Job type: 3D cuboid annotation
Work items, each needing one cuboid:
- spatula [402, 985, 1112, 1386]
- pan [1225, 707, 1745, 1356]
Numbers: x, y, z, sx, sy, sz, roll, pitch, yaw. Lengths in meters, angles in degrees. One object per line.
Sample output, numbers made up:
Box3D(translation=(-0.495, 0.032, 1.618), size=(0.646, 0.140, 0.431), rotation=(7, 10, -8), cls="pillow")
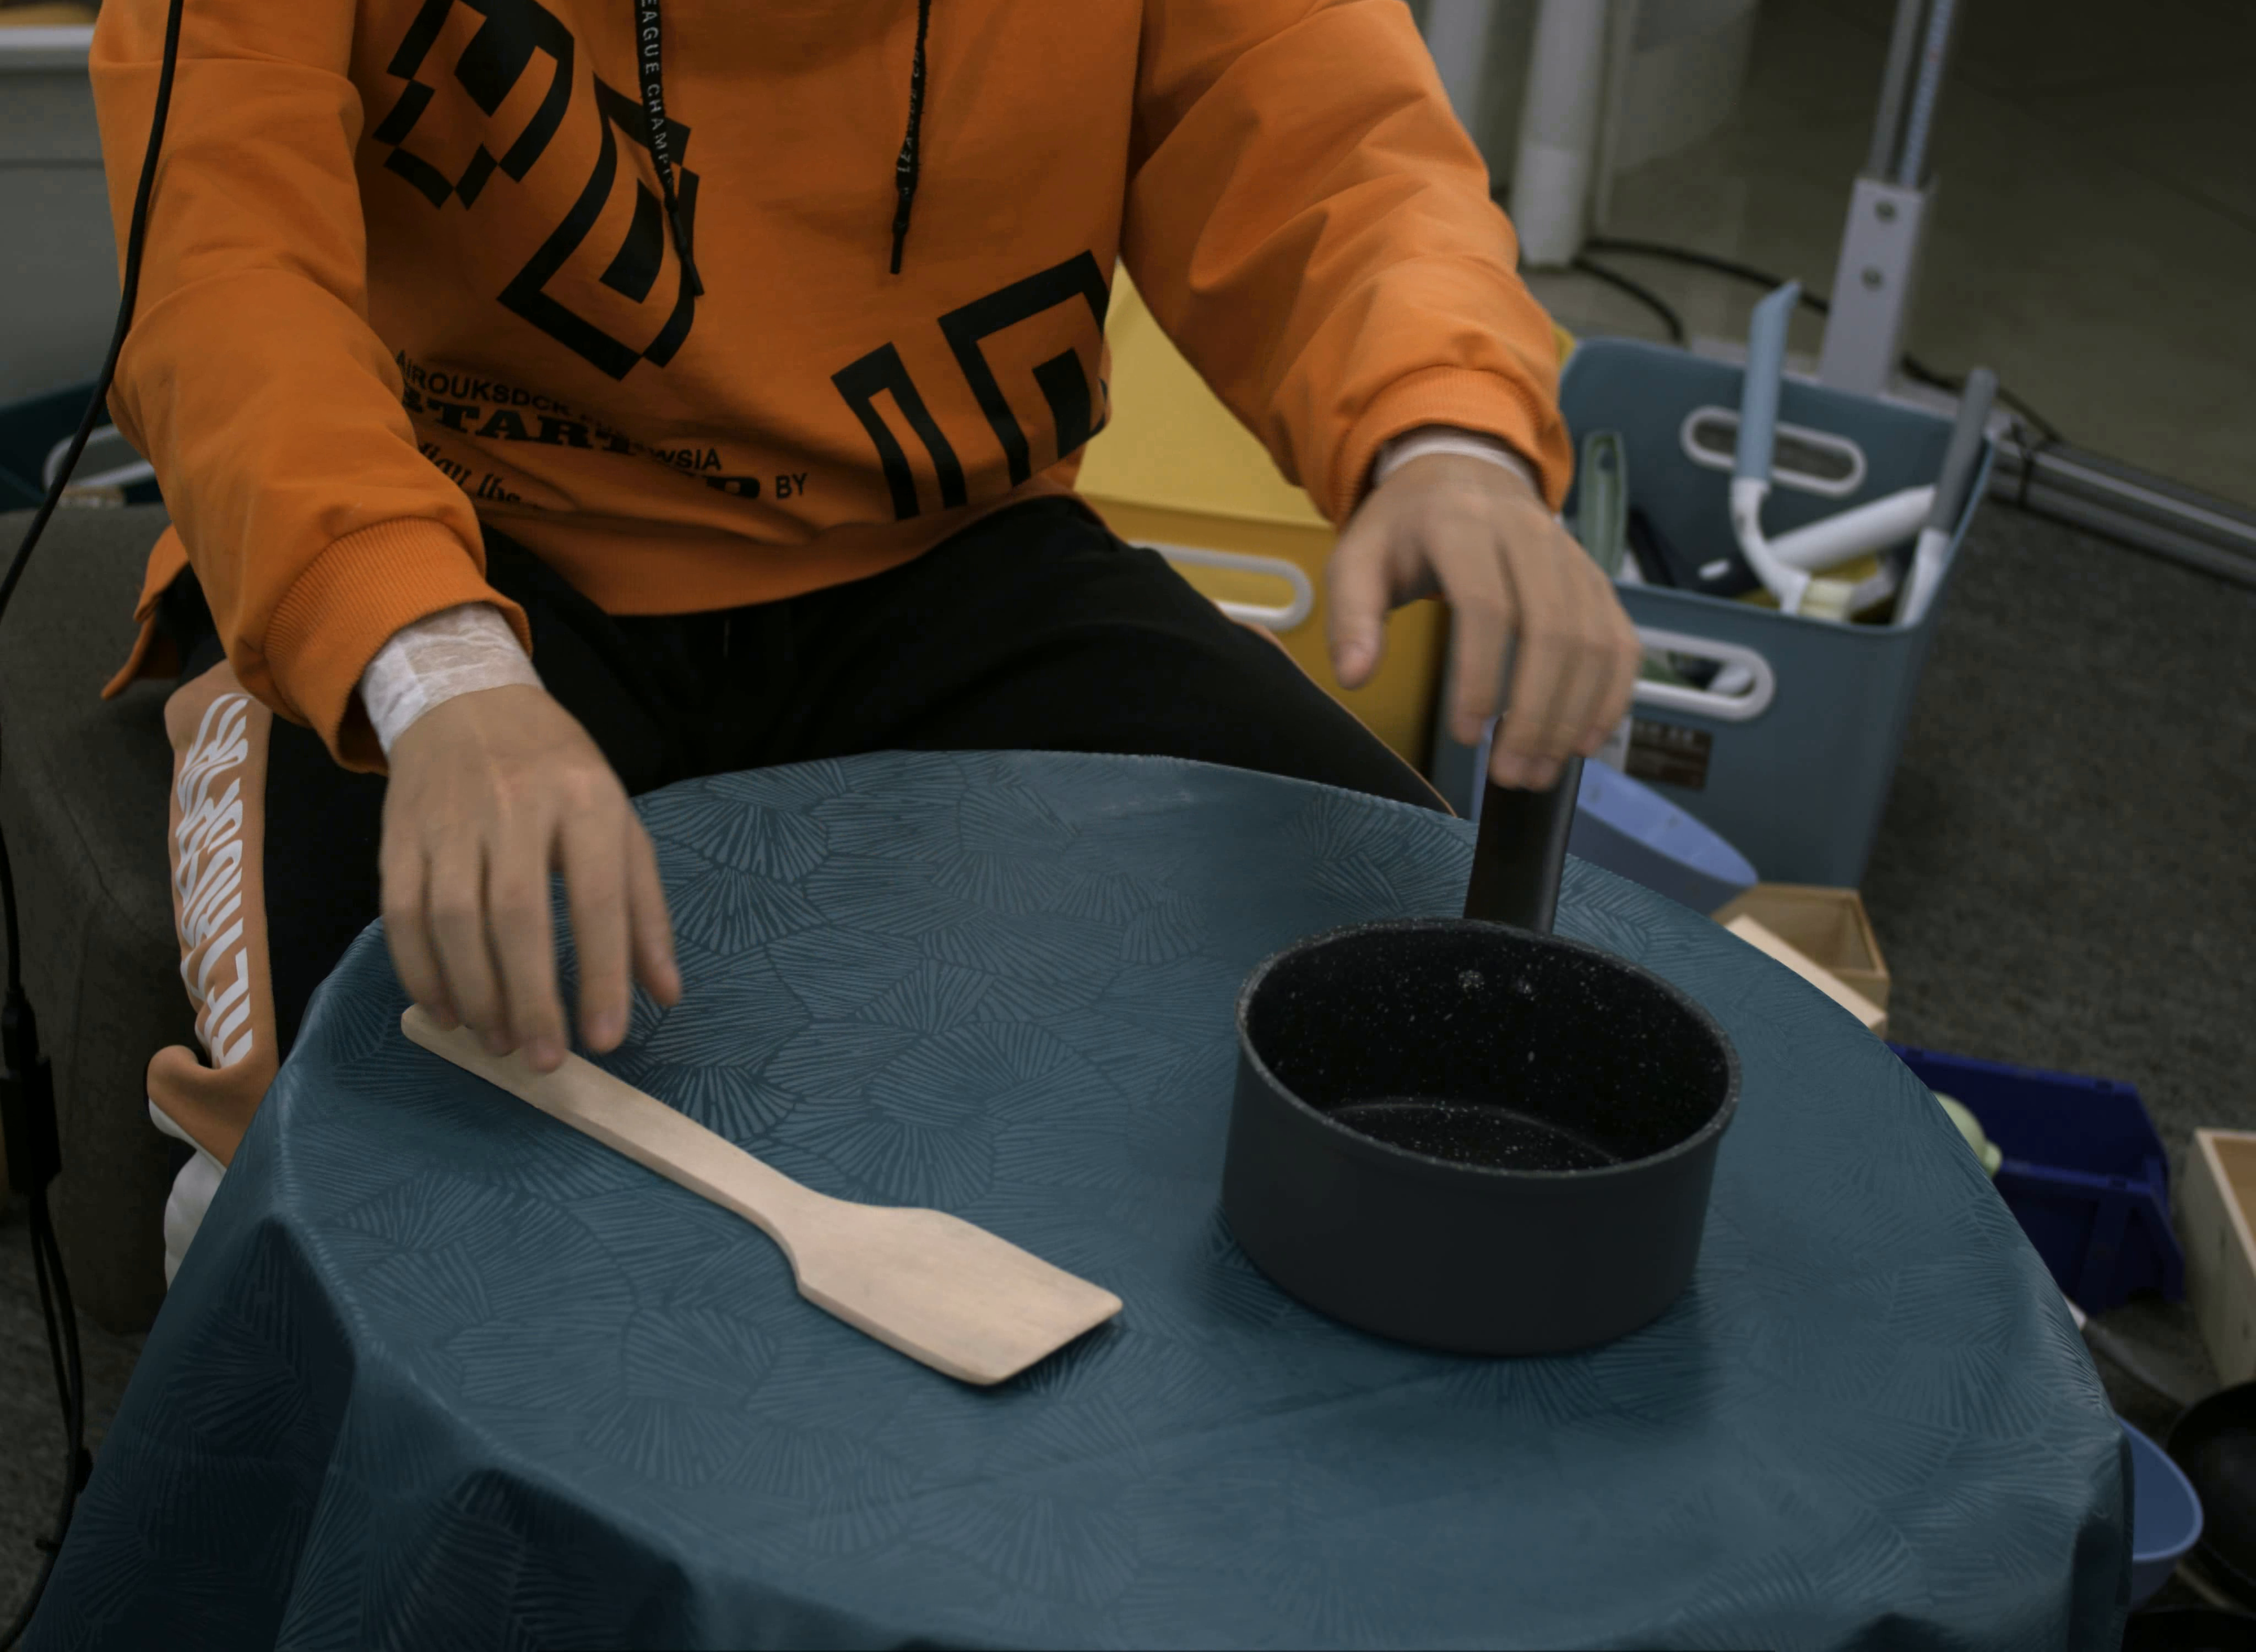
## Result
Box3D(translation=(-0.136, 0.115, 1.779), size=(0.295, 0.010, 0.072), rotation=(26, 36, 32), cls="spatula")
Box3D(translation=(0.130, 0.066, 1.852), size=(0.172, 0.086, 0.330), rotation=(11, 29, 7), cls="pan")
